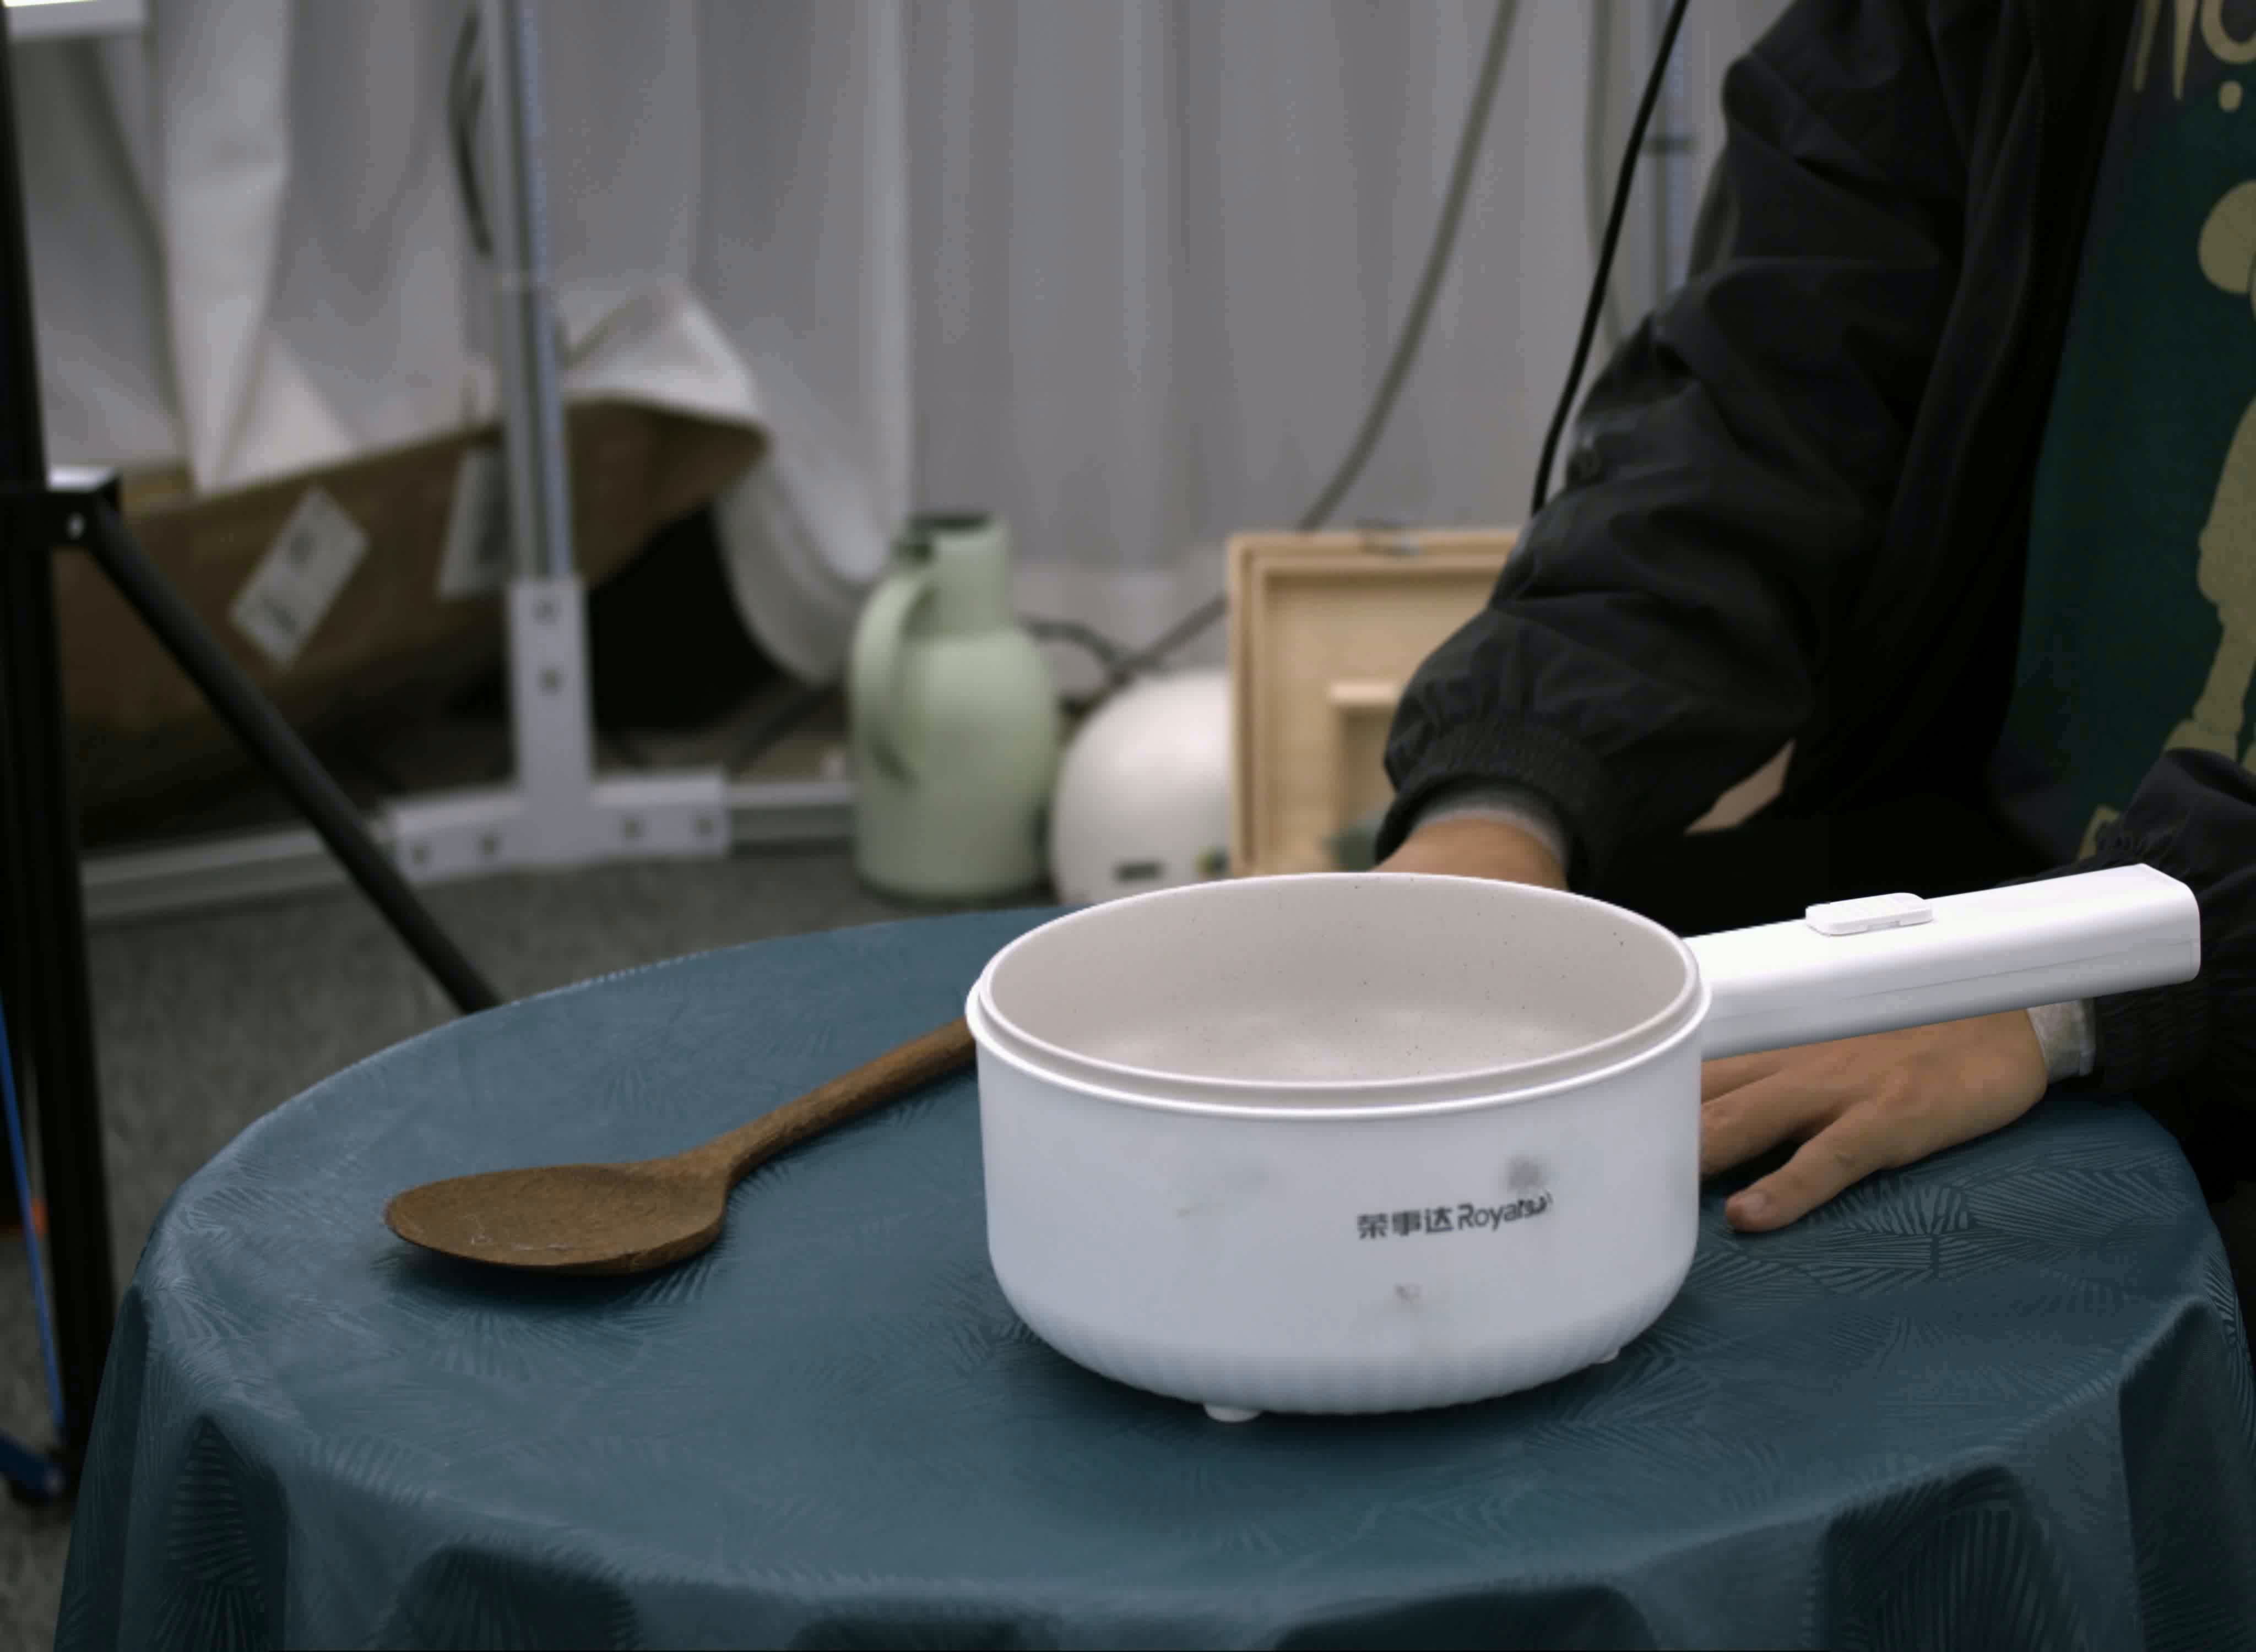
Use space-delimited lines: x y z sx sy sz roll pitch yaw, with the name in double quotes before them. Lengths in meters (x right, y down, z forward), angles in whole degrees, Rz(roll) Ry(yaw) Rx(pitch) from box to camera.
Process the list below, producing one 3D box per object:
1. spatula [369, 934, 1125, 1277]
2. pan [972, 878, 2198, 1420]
"spatula" -0.080 0.079 1.649 0.098 0.016 0.378 10 20 35
"pan" 0.130 0.082 1.459 0.348 0.102 0.204 -5 15 -17
